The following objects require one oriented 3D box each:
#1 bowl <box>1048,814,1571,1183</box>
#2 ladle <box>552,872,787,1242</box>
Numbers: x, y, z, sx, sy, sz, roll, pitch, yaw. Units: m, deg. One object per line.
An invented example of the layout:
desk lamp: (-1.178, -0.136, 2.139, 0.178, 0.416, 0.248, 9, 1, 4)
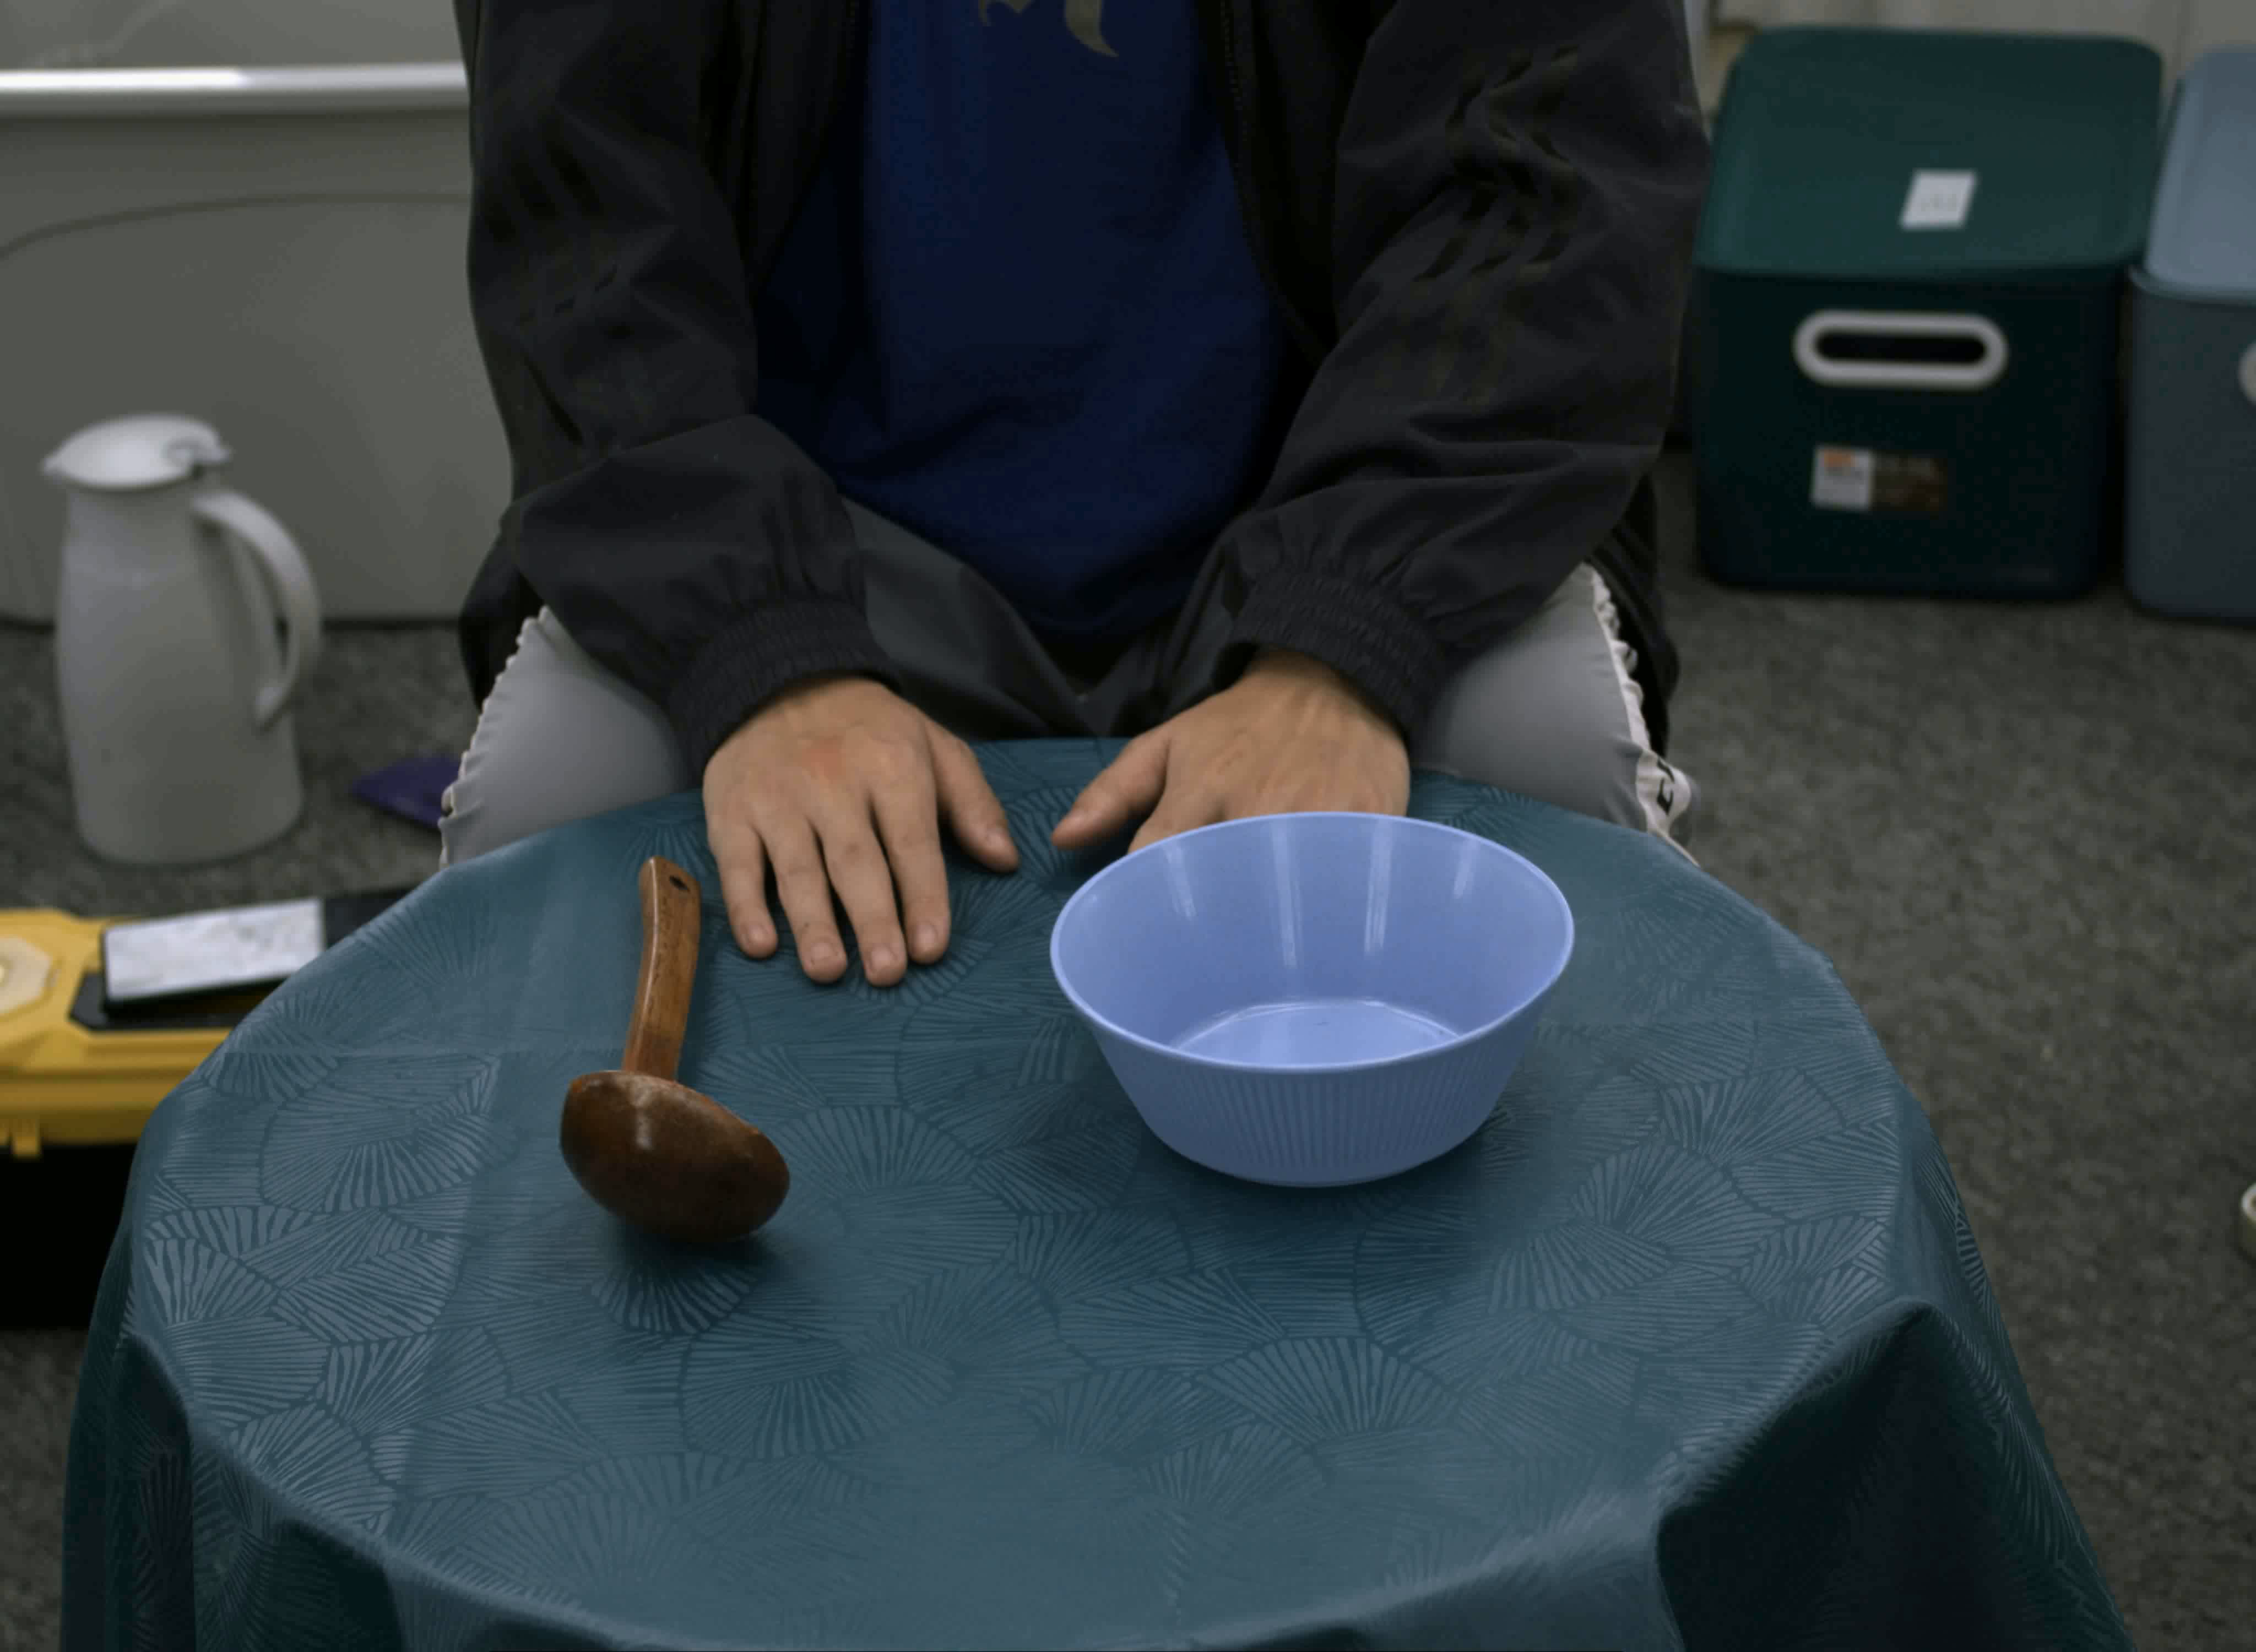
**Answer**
bowl: (0.061, 0.063, 1.892, 0.175, 0.069, 0.179, -2, 27, 1)
ladle: (-0.147, 0.060, 1.922, 0.081, 0.076, 0.278, 40, 21, -15)
